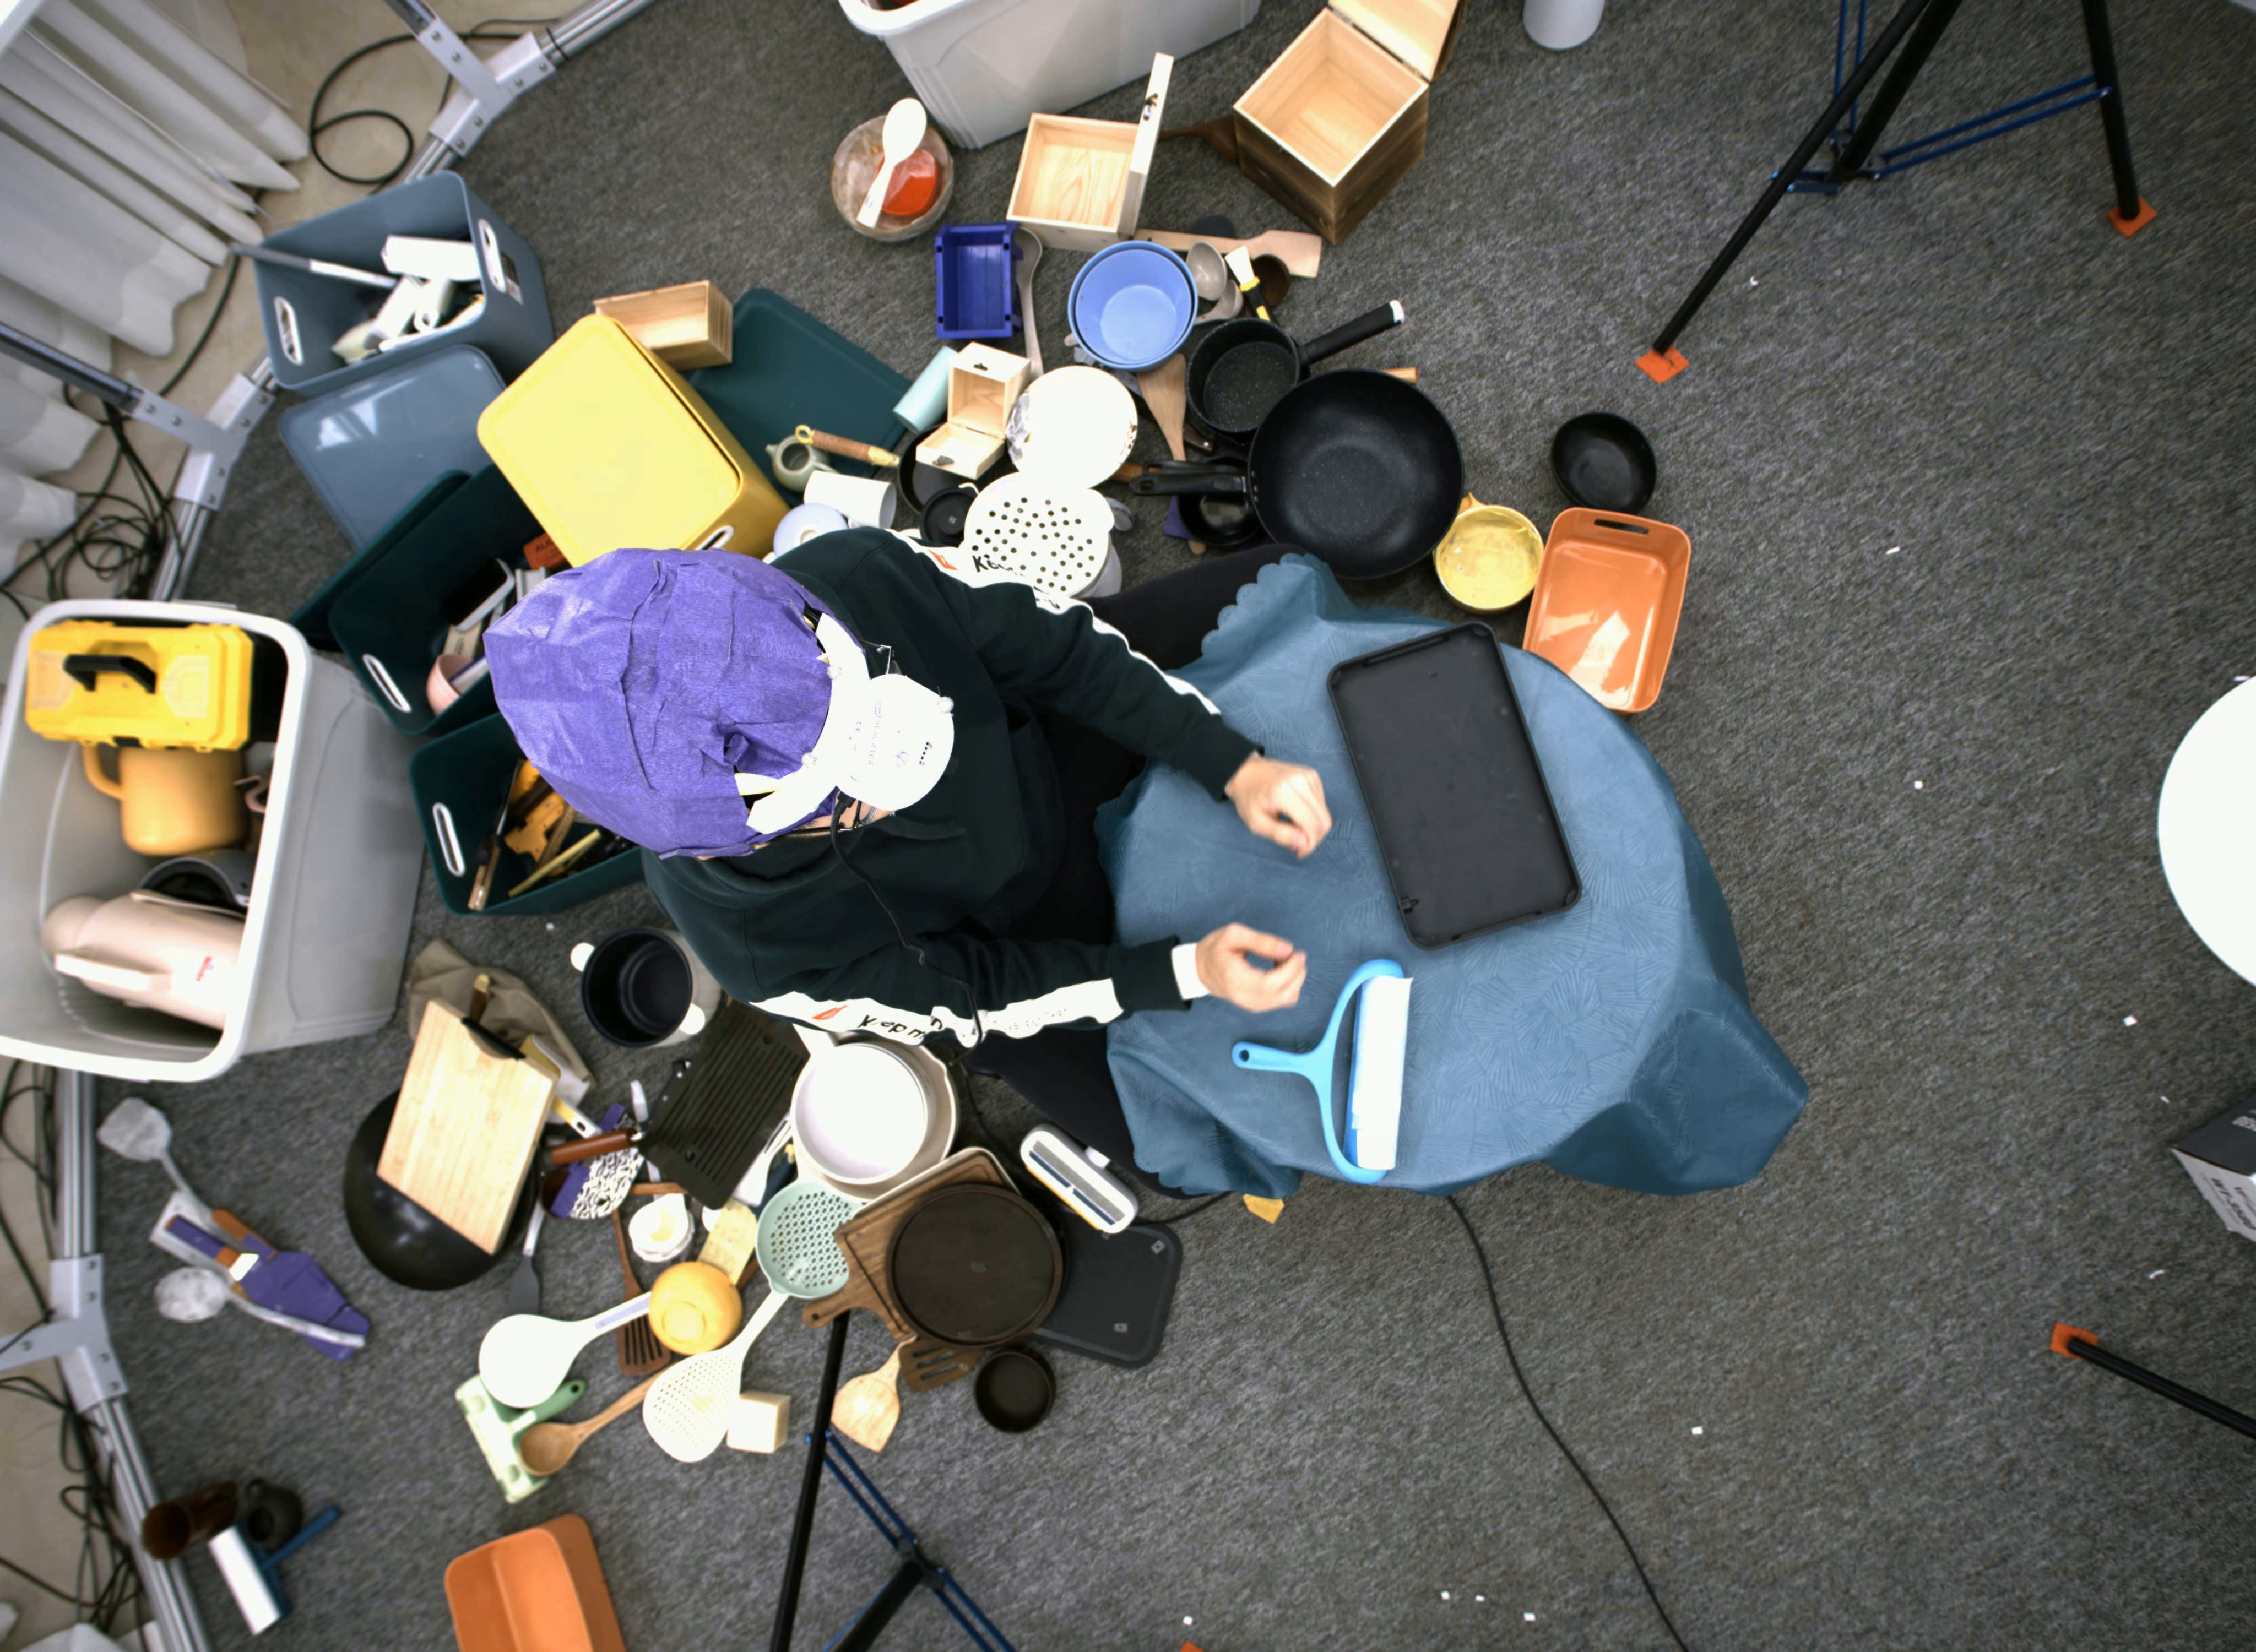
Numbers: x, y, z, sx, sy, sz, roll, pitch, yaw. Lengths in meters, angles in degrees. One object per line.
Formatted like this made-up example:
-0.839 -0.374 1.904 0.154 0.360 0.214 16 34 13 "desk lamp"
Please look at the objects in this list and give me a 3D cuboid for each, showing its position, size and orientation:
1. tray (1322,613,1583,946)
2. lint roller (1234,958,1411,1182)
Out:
0.335 -0.050 1.432 0.185 0.037 0.316 -19 85 9 "tray"
0.198 0.246 1.431 0.181 0.068 0.228 2 89 9 "lint roller"
